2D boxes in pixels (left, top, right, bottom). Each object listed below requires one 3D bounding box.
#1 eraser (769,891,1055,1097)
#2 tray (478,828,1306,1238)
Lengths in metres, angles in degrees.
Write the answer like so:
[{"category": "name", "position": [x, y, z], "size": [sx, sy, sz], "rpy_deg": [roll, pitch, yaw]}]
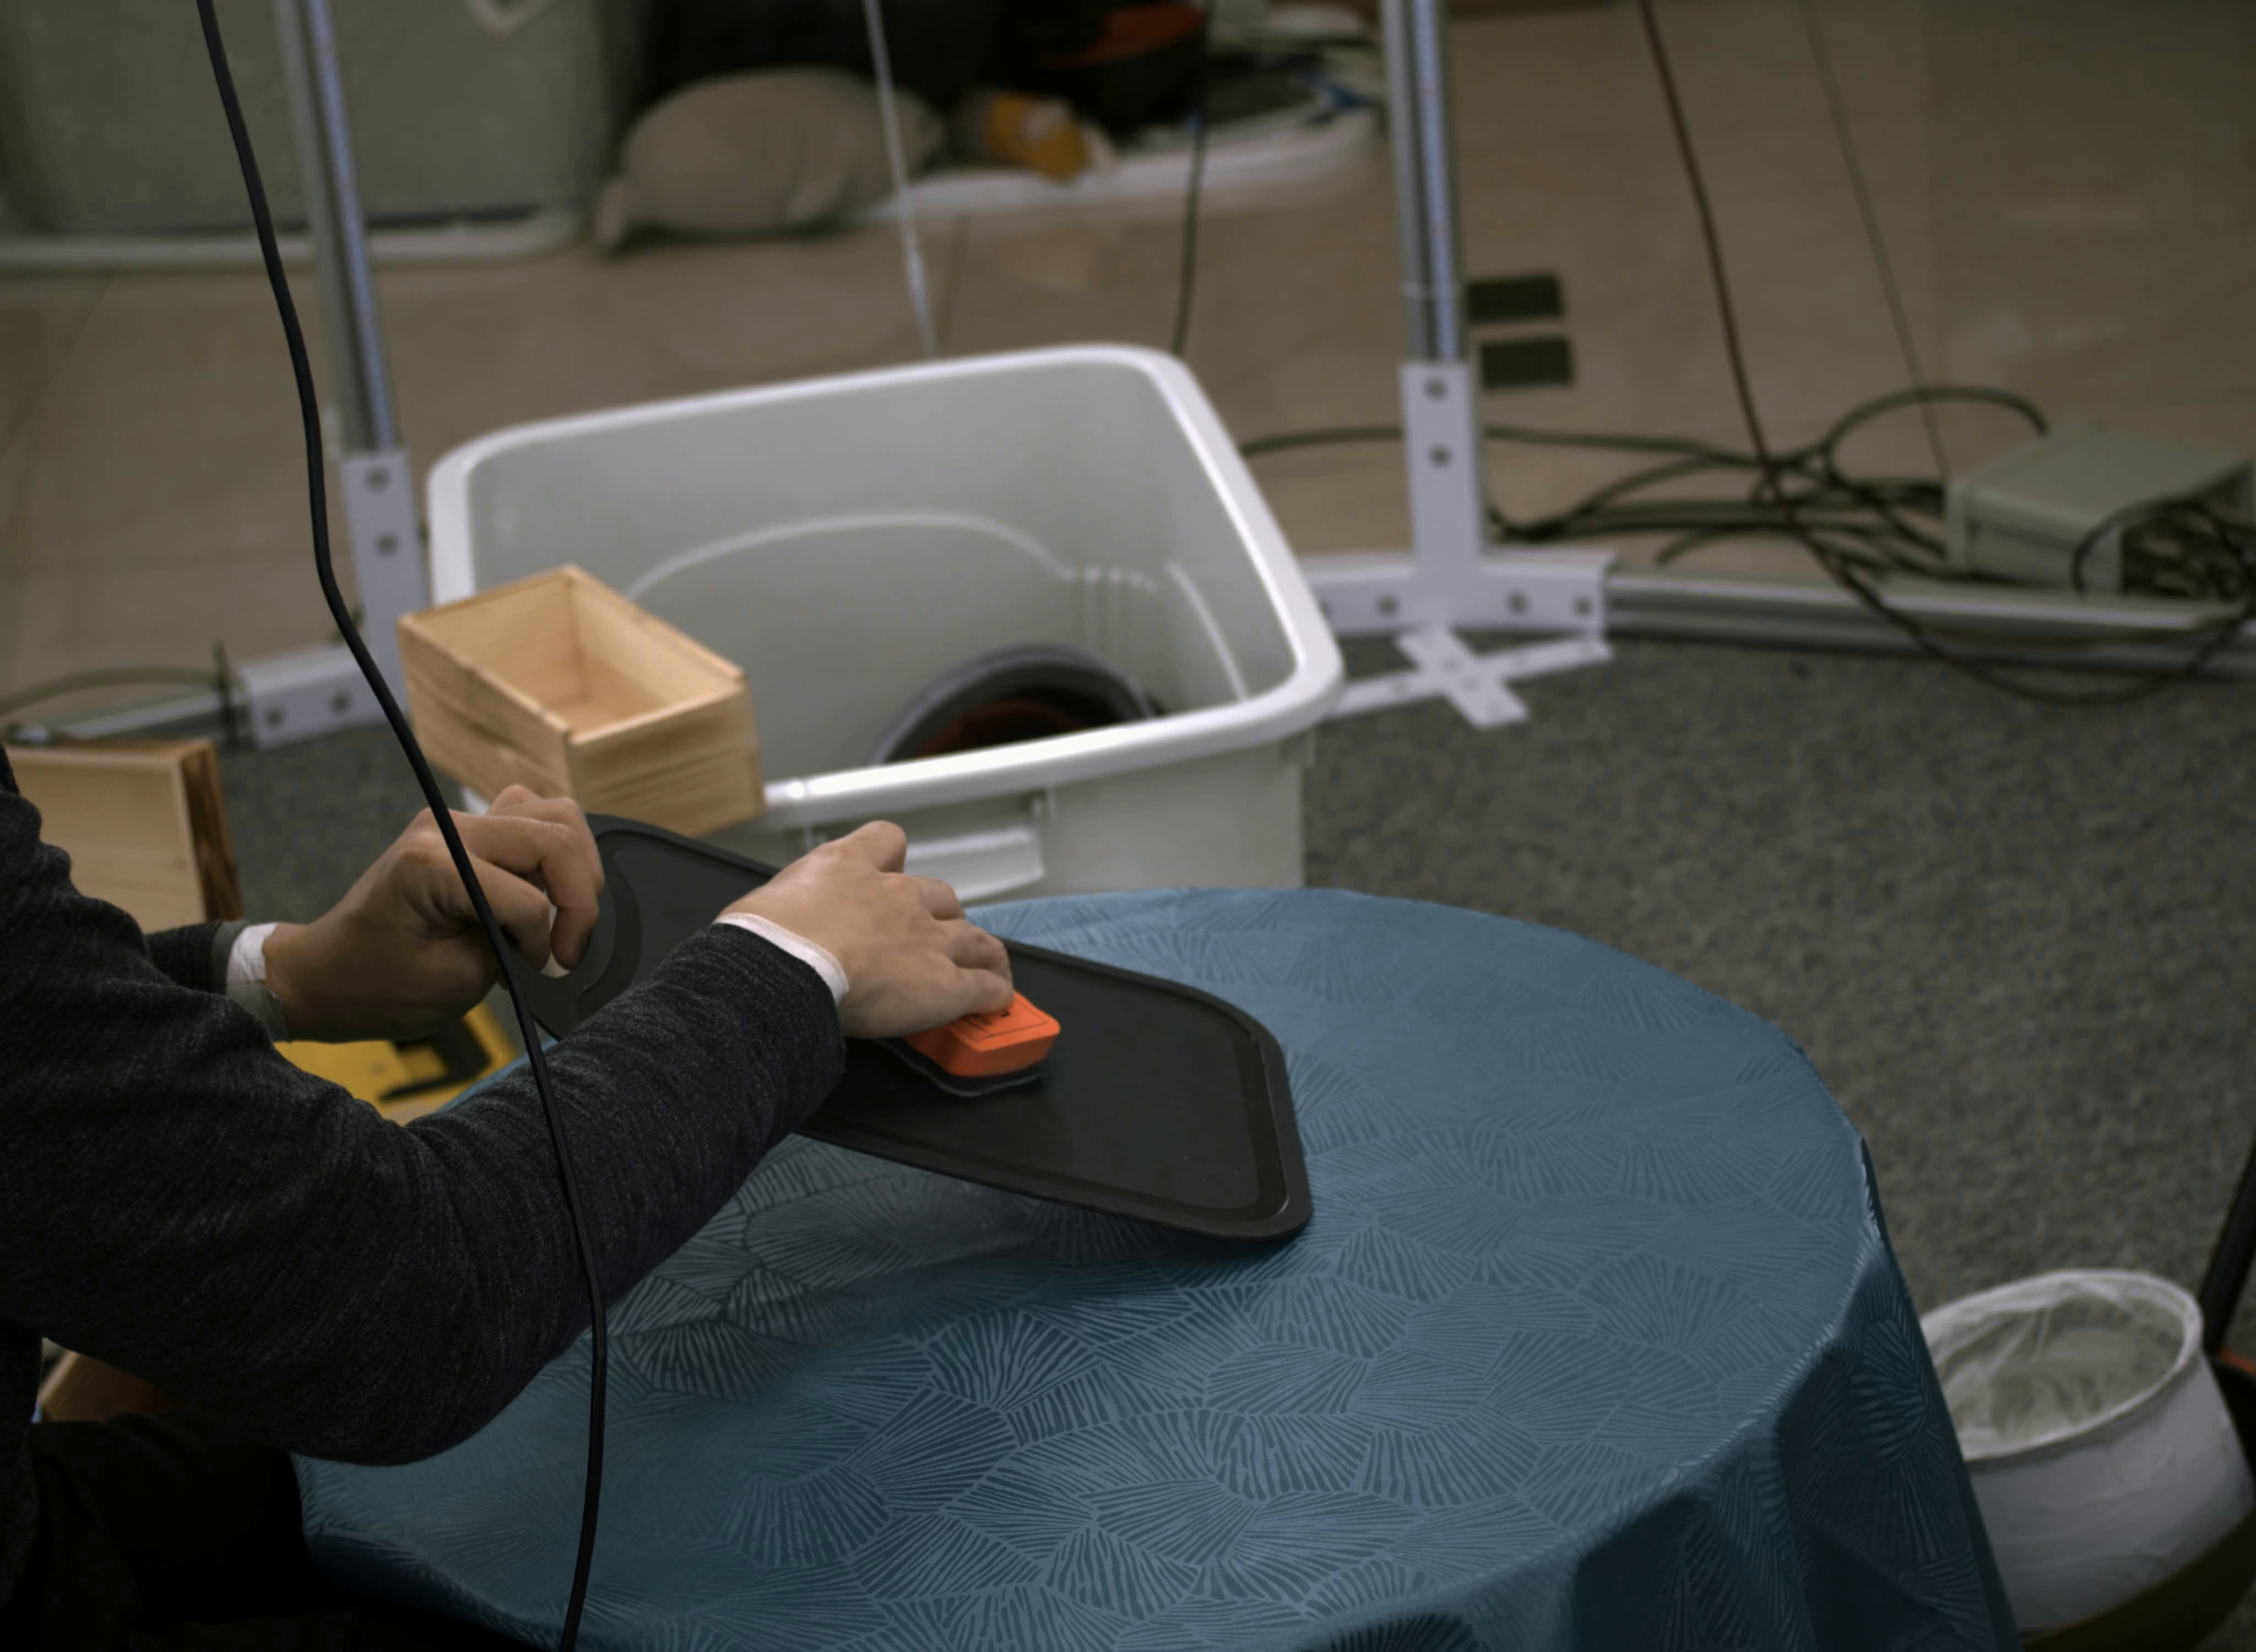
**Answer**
[{"category": "eraser", "position": [-0.082, 0.063, 2.151], "size": [0.107, 0.023, 0.059], "rpy_deg": [35, 29, 29]}, {"category": "tray", "position": [-0.089, 0.074, 2.146], "size": [0.325, 0.010, 0.208], "rpy_deg": [16, 22, -10]}]
